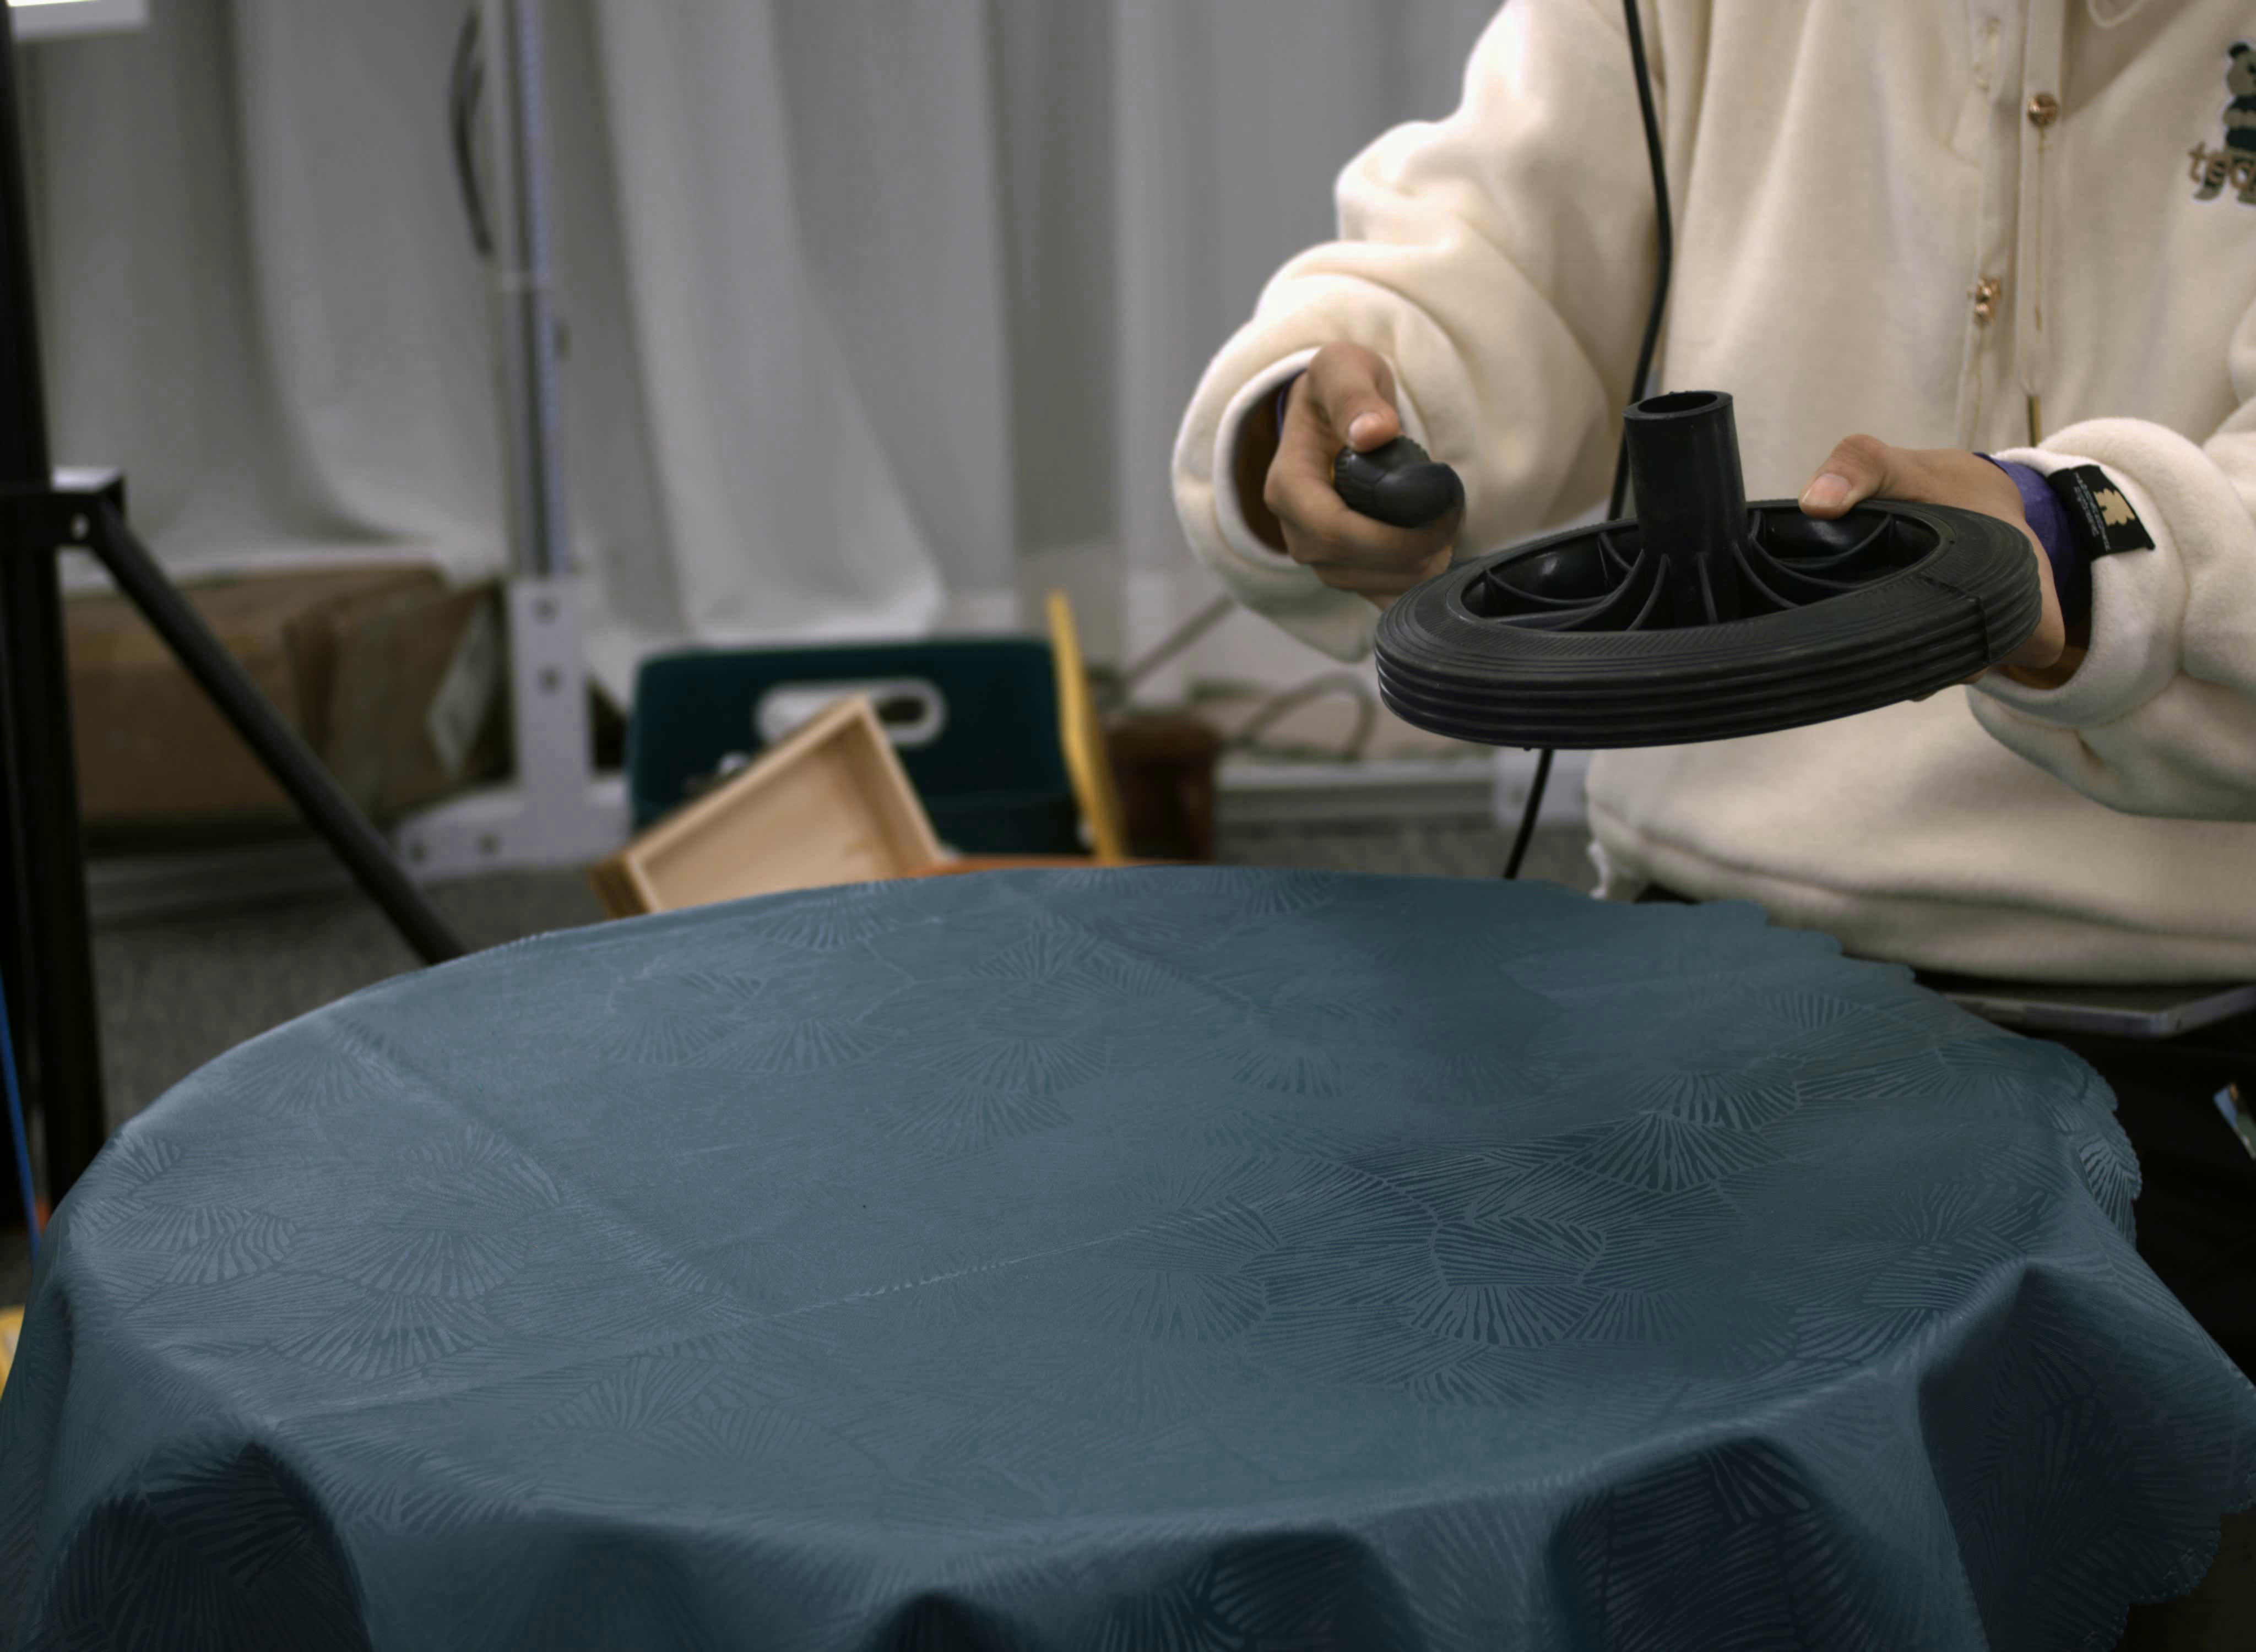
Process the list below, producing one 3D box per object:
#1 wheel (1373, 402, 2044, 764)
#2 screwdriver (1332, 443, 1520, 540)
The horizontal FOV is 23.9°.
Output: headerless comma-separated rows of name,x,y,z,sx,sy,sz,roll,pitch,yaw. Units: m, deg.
wheel,0.159,-0.075,1.486,0.188,0.079,0.190,-14,16,-8
screwdriver,0.097,-0.097,1.658,0.031,0.031,0.200,-5,11,-10
